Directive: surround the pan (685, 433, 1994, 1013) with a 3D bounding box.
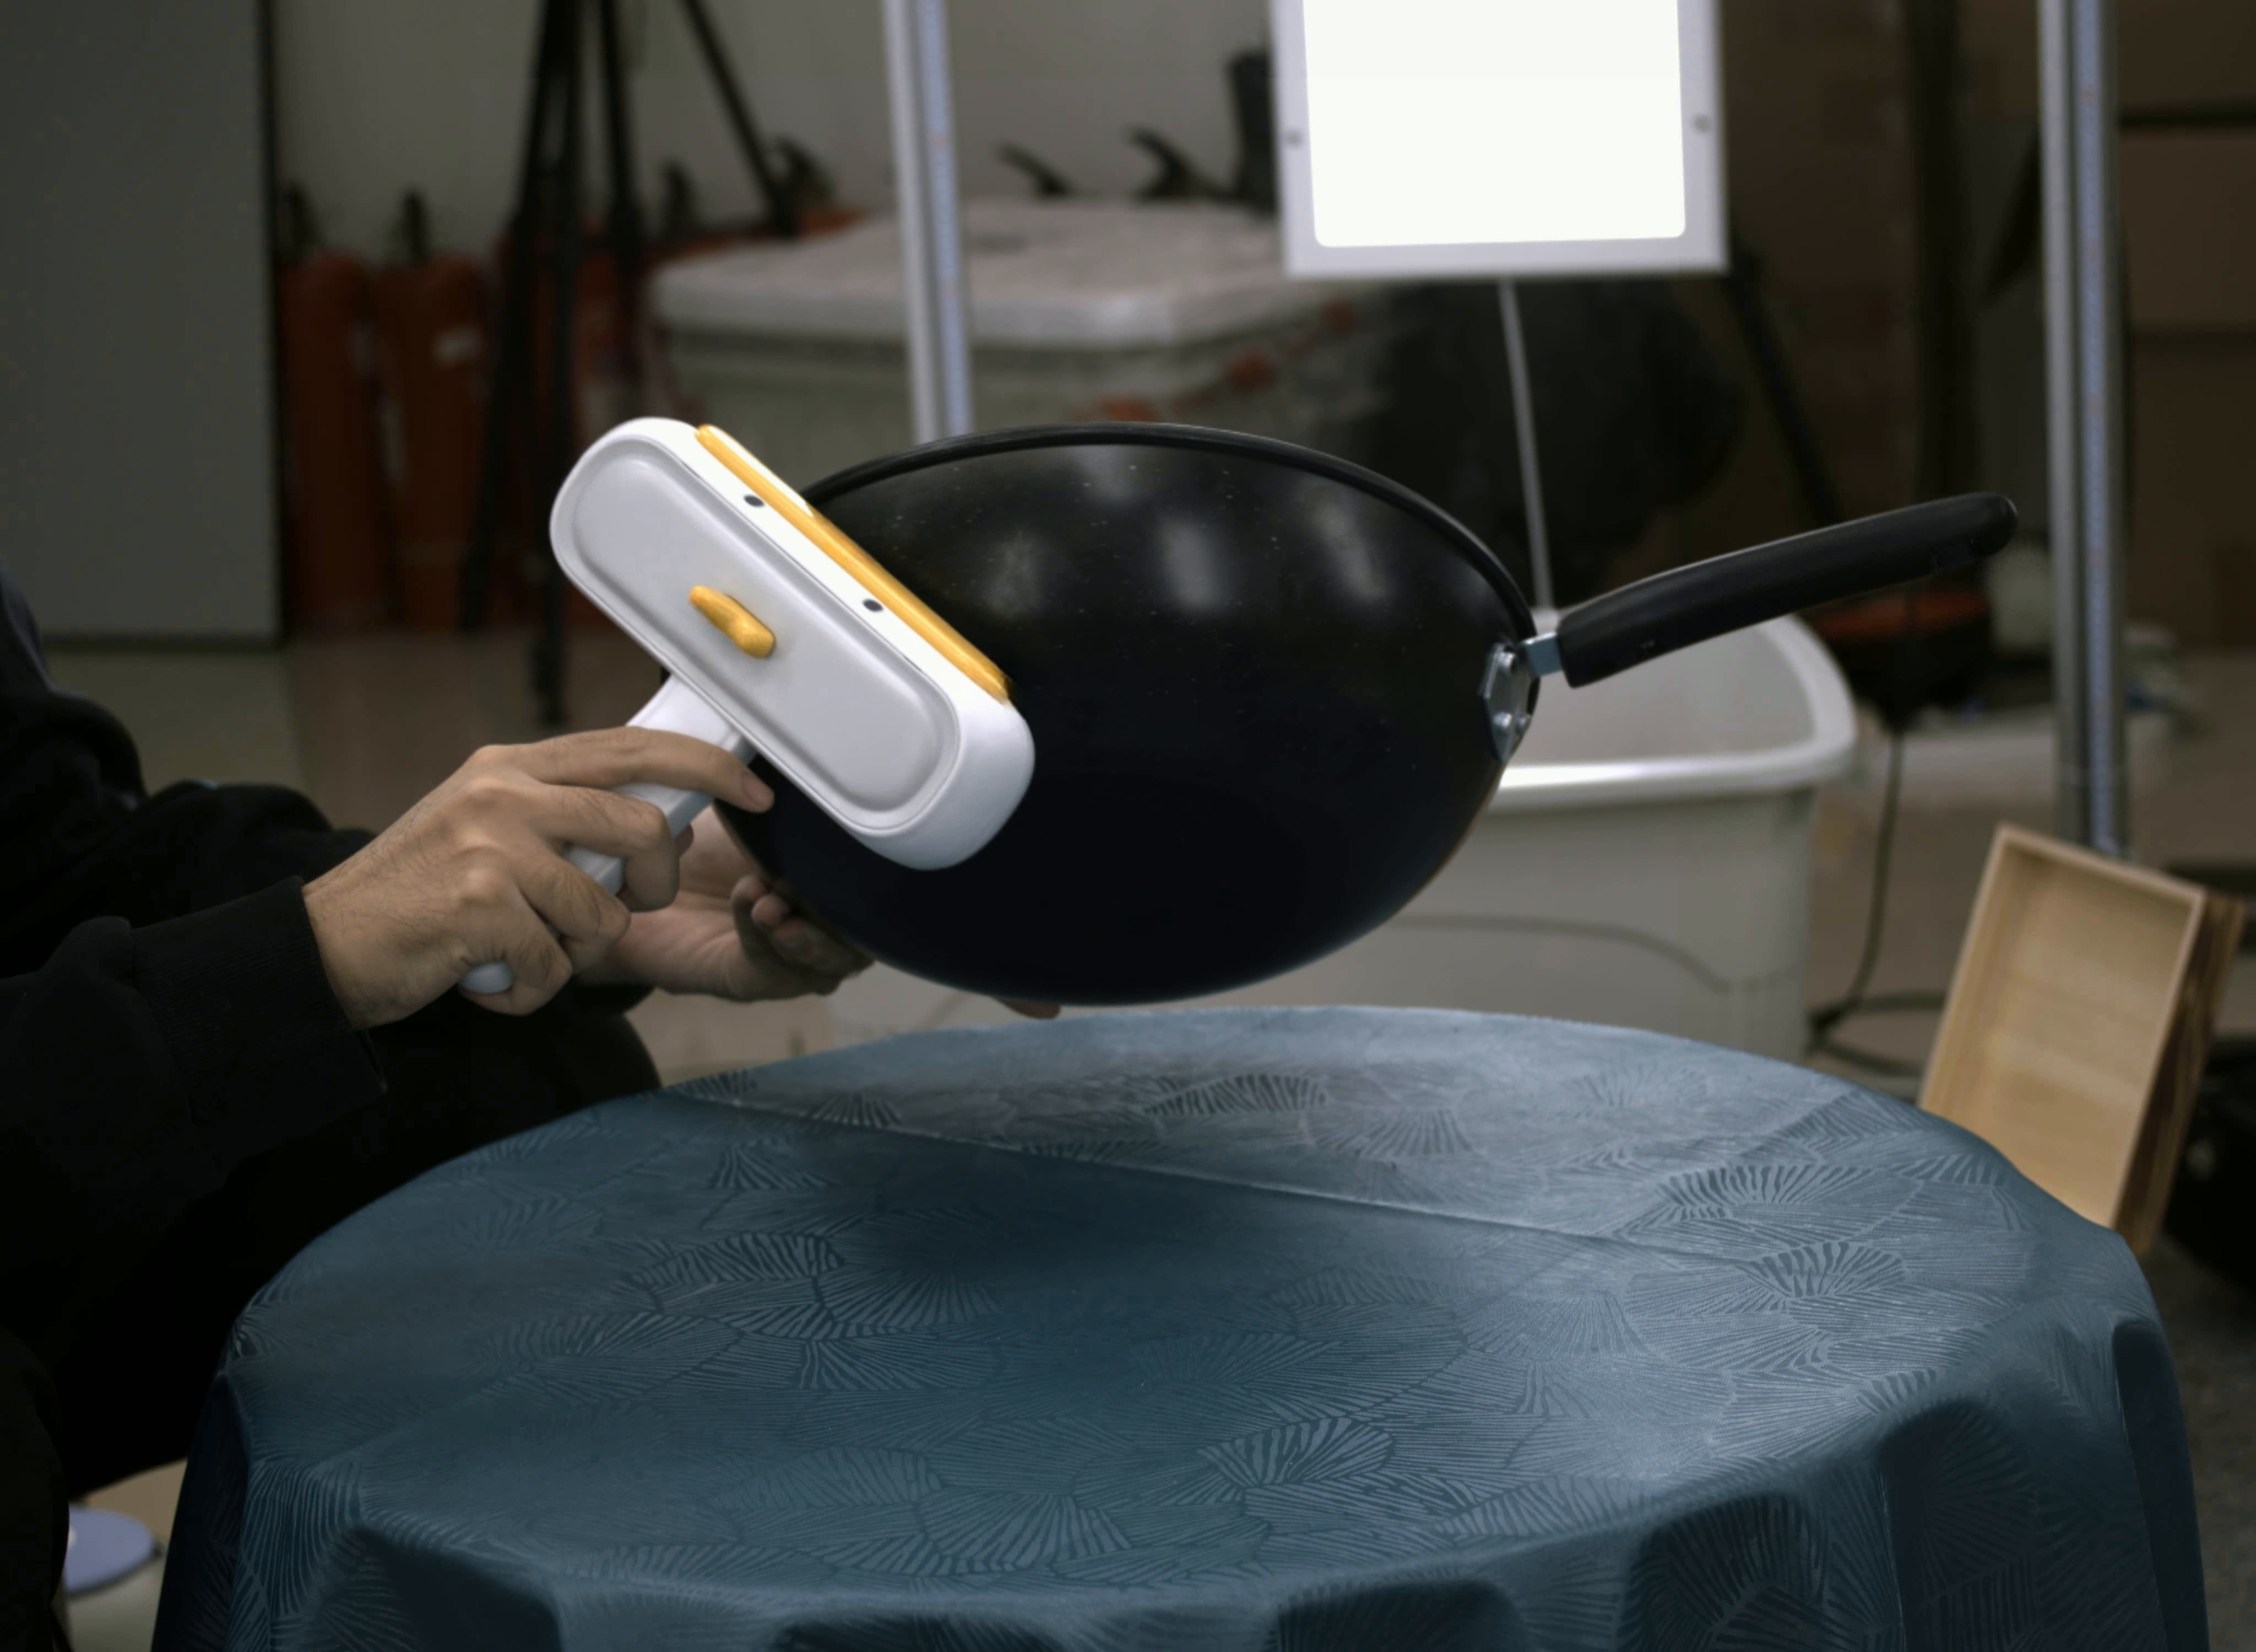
[{"bbox_3d":[0.066,-0.034,1.892,0.479,0.111,0.309,-6,-31,10],"label":"pan"}]

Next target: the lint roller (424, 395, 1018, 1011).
[{"bbox_3d":[-0.154,-0.021,1.786,0.195,0.193,0.073,37,3,20],"label":"lint roller"}]
